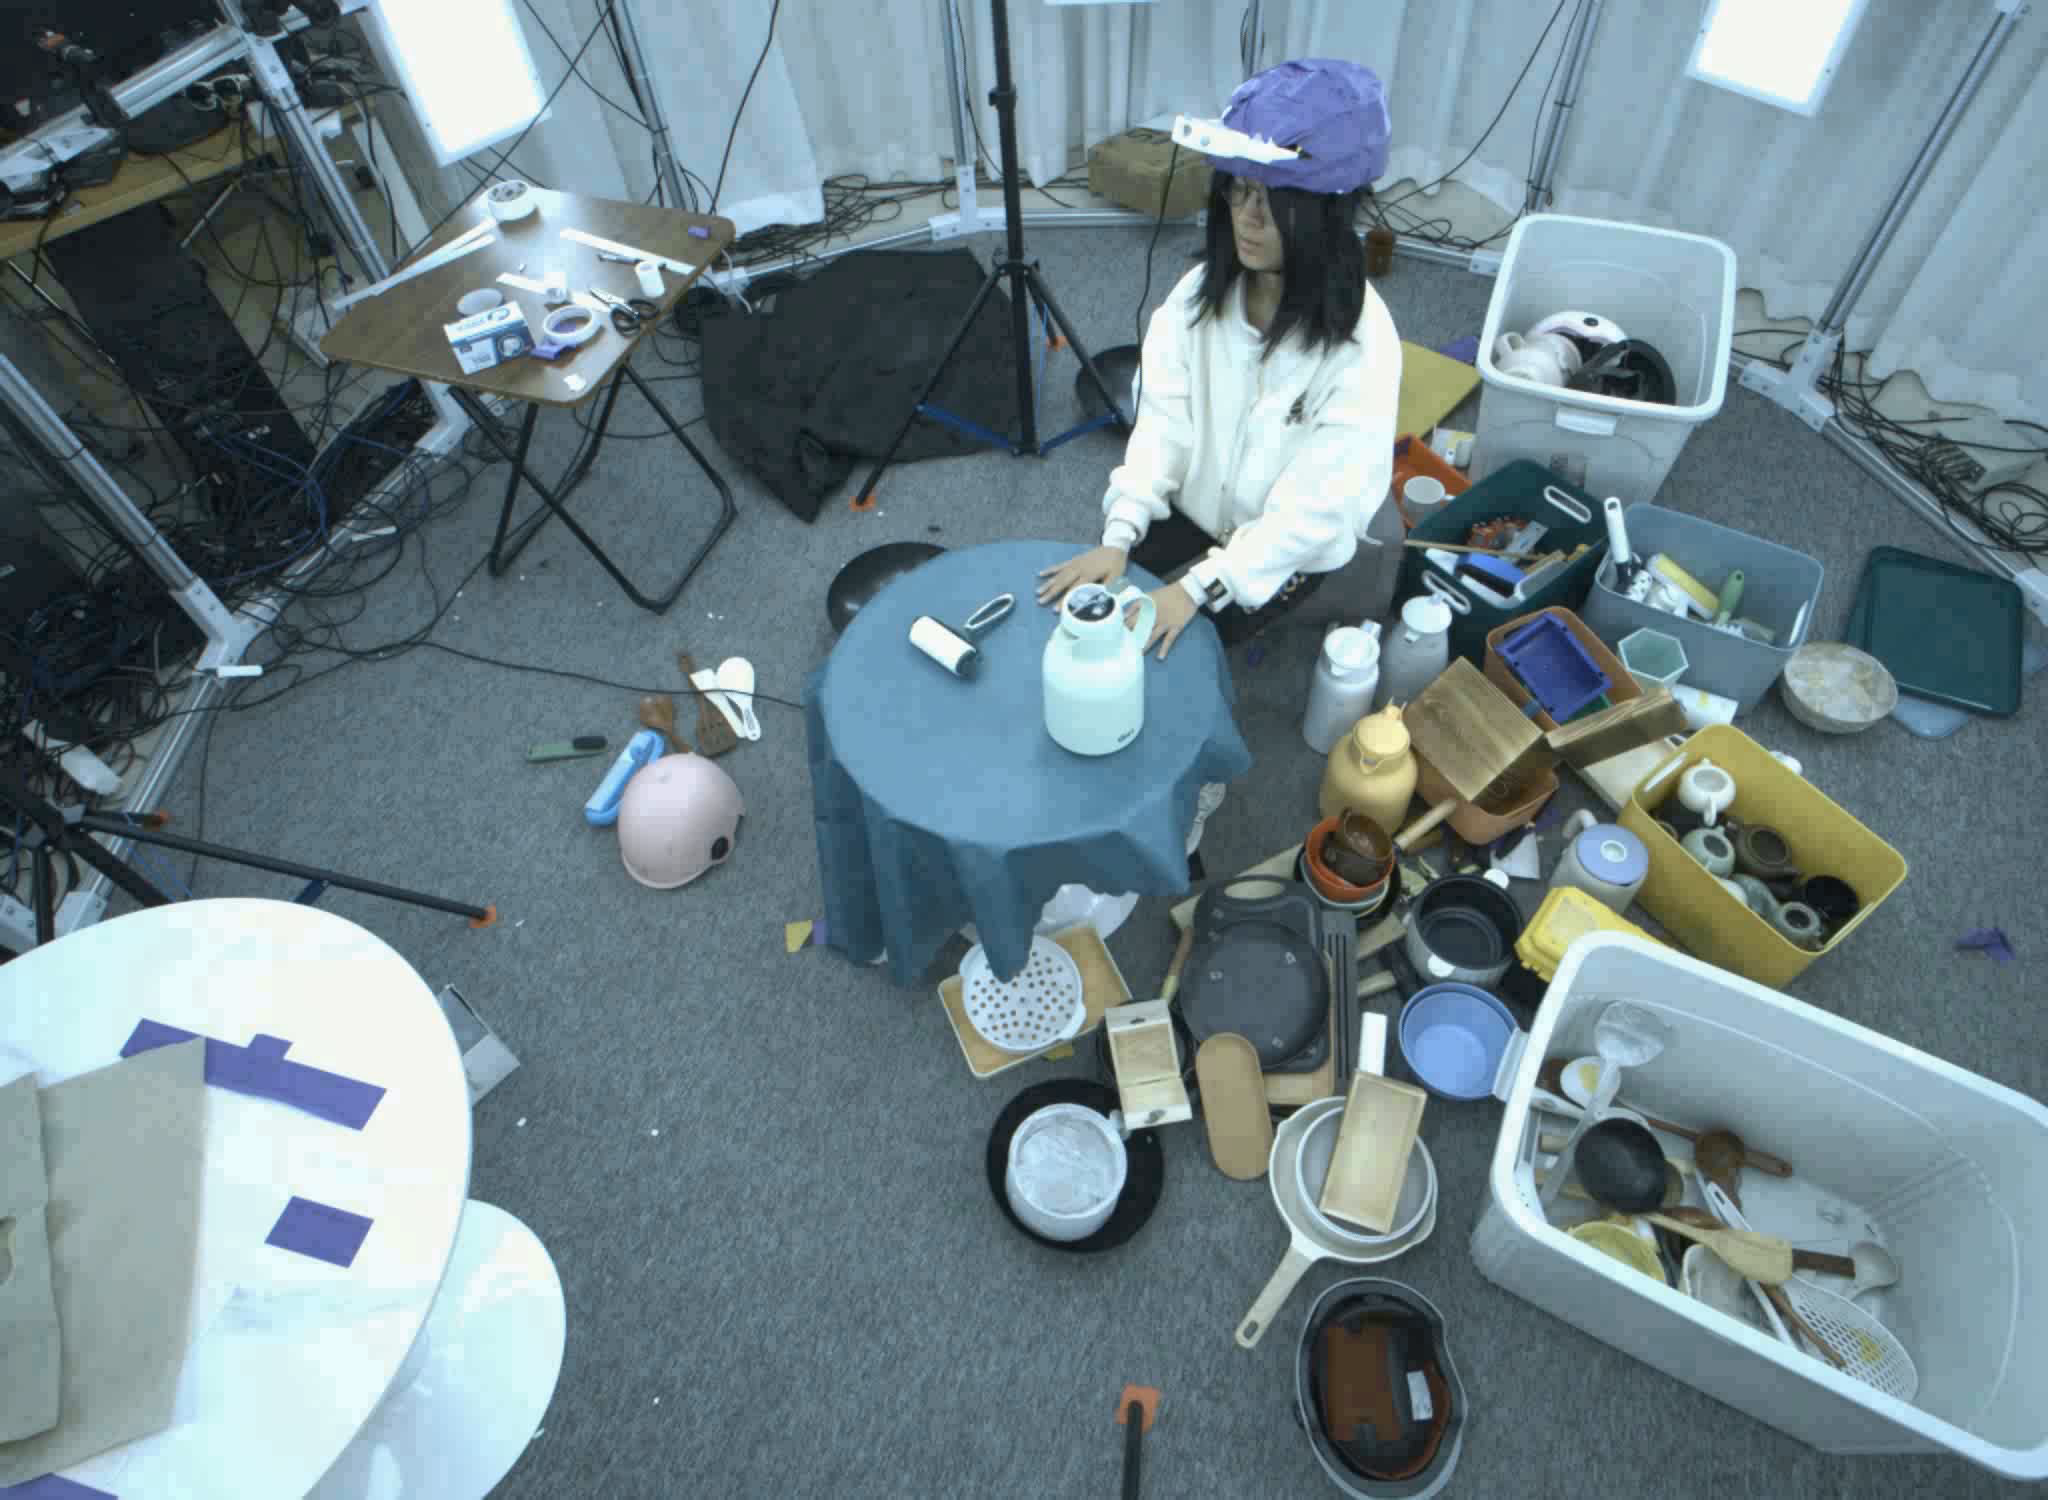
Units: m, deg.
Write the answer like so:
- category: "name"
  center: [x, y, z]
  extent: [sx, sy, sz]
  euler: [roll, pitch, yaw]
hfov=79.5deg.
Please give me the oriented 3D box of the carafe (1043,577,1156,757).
- category: "carafe"
  center: [0.107, -0.124, 1.718]
  extent: [0.188, 0.259, 0.141]
  euler: [-36, 58, -24]

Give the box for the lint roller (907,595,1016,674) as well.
- category: "lint roller"
  center: [-0.079, -0.201, 1.903]
  extent: [0.132, 0.049, 0.181]
  euler: [37, 64, 24]
